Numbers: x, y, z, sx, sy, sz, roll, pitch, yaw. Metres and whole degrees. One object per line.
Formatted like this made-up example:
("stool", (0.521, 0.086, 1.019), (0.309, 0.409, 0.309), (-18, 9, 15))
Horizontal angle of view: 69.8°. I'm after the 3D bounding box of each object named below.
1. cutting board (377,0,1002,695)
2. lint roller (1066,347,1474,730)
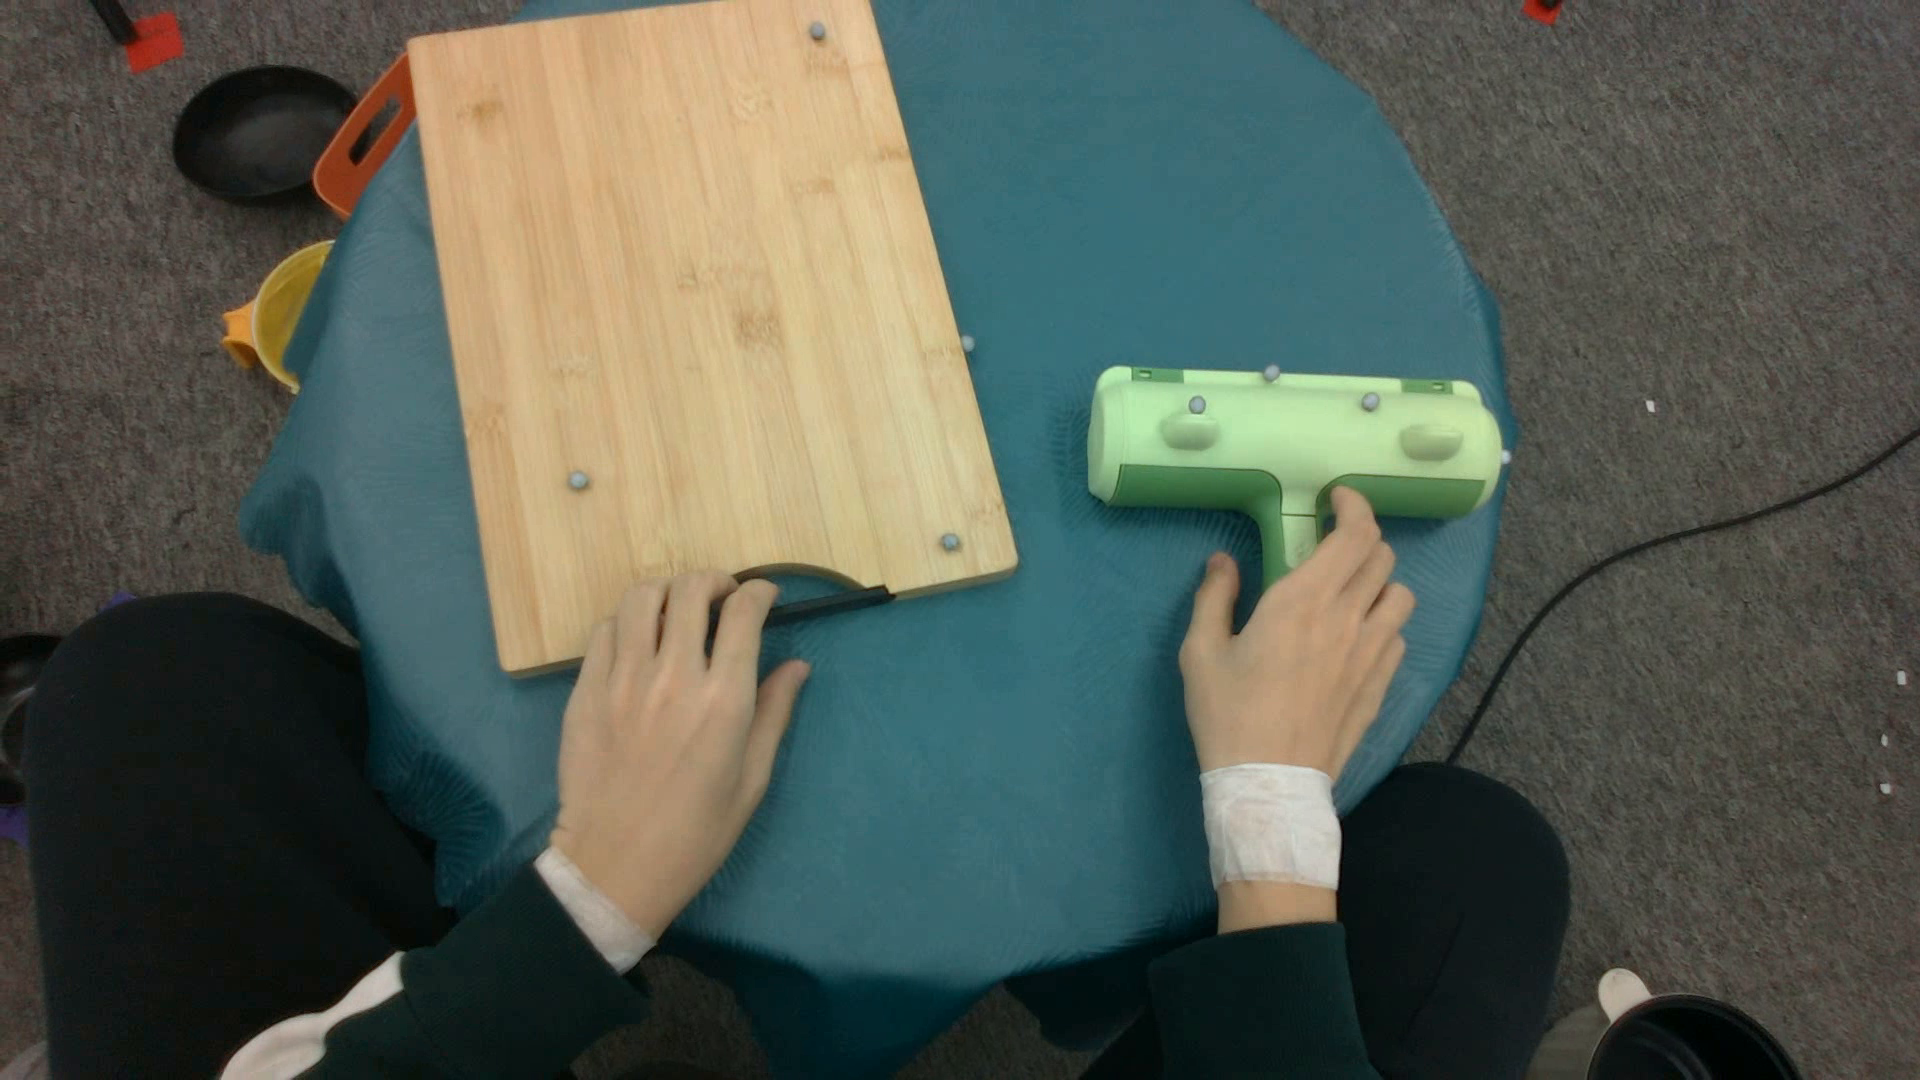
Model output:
("cutting board", (-0.140, -0.117, 0.686), (0.251, 0.023, 0.349), (-13, 73, -11))
("lint roller", (0.154, -0.007, 0.653), (0.199, 0.082, 0.184), (1, 67, -7))
